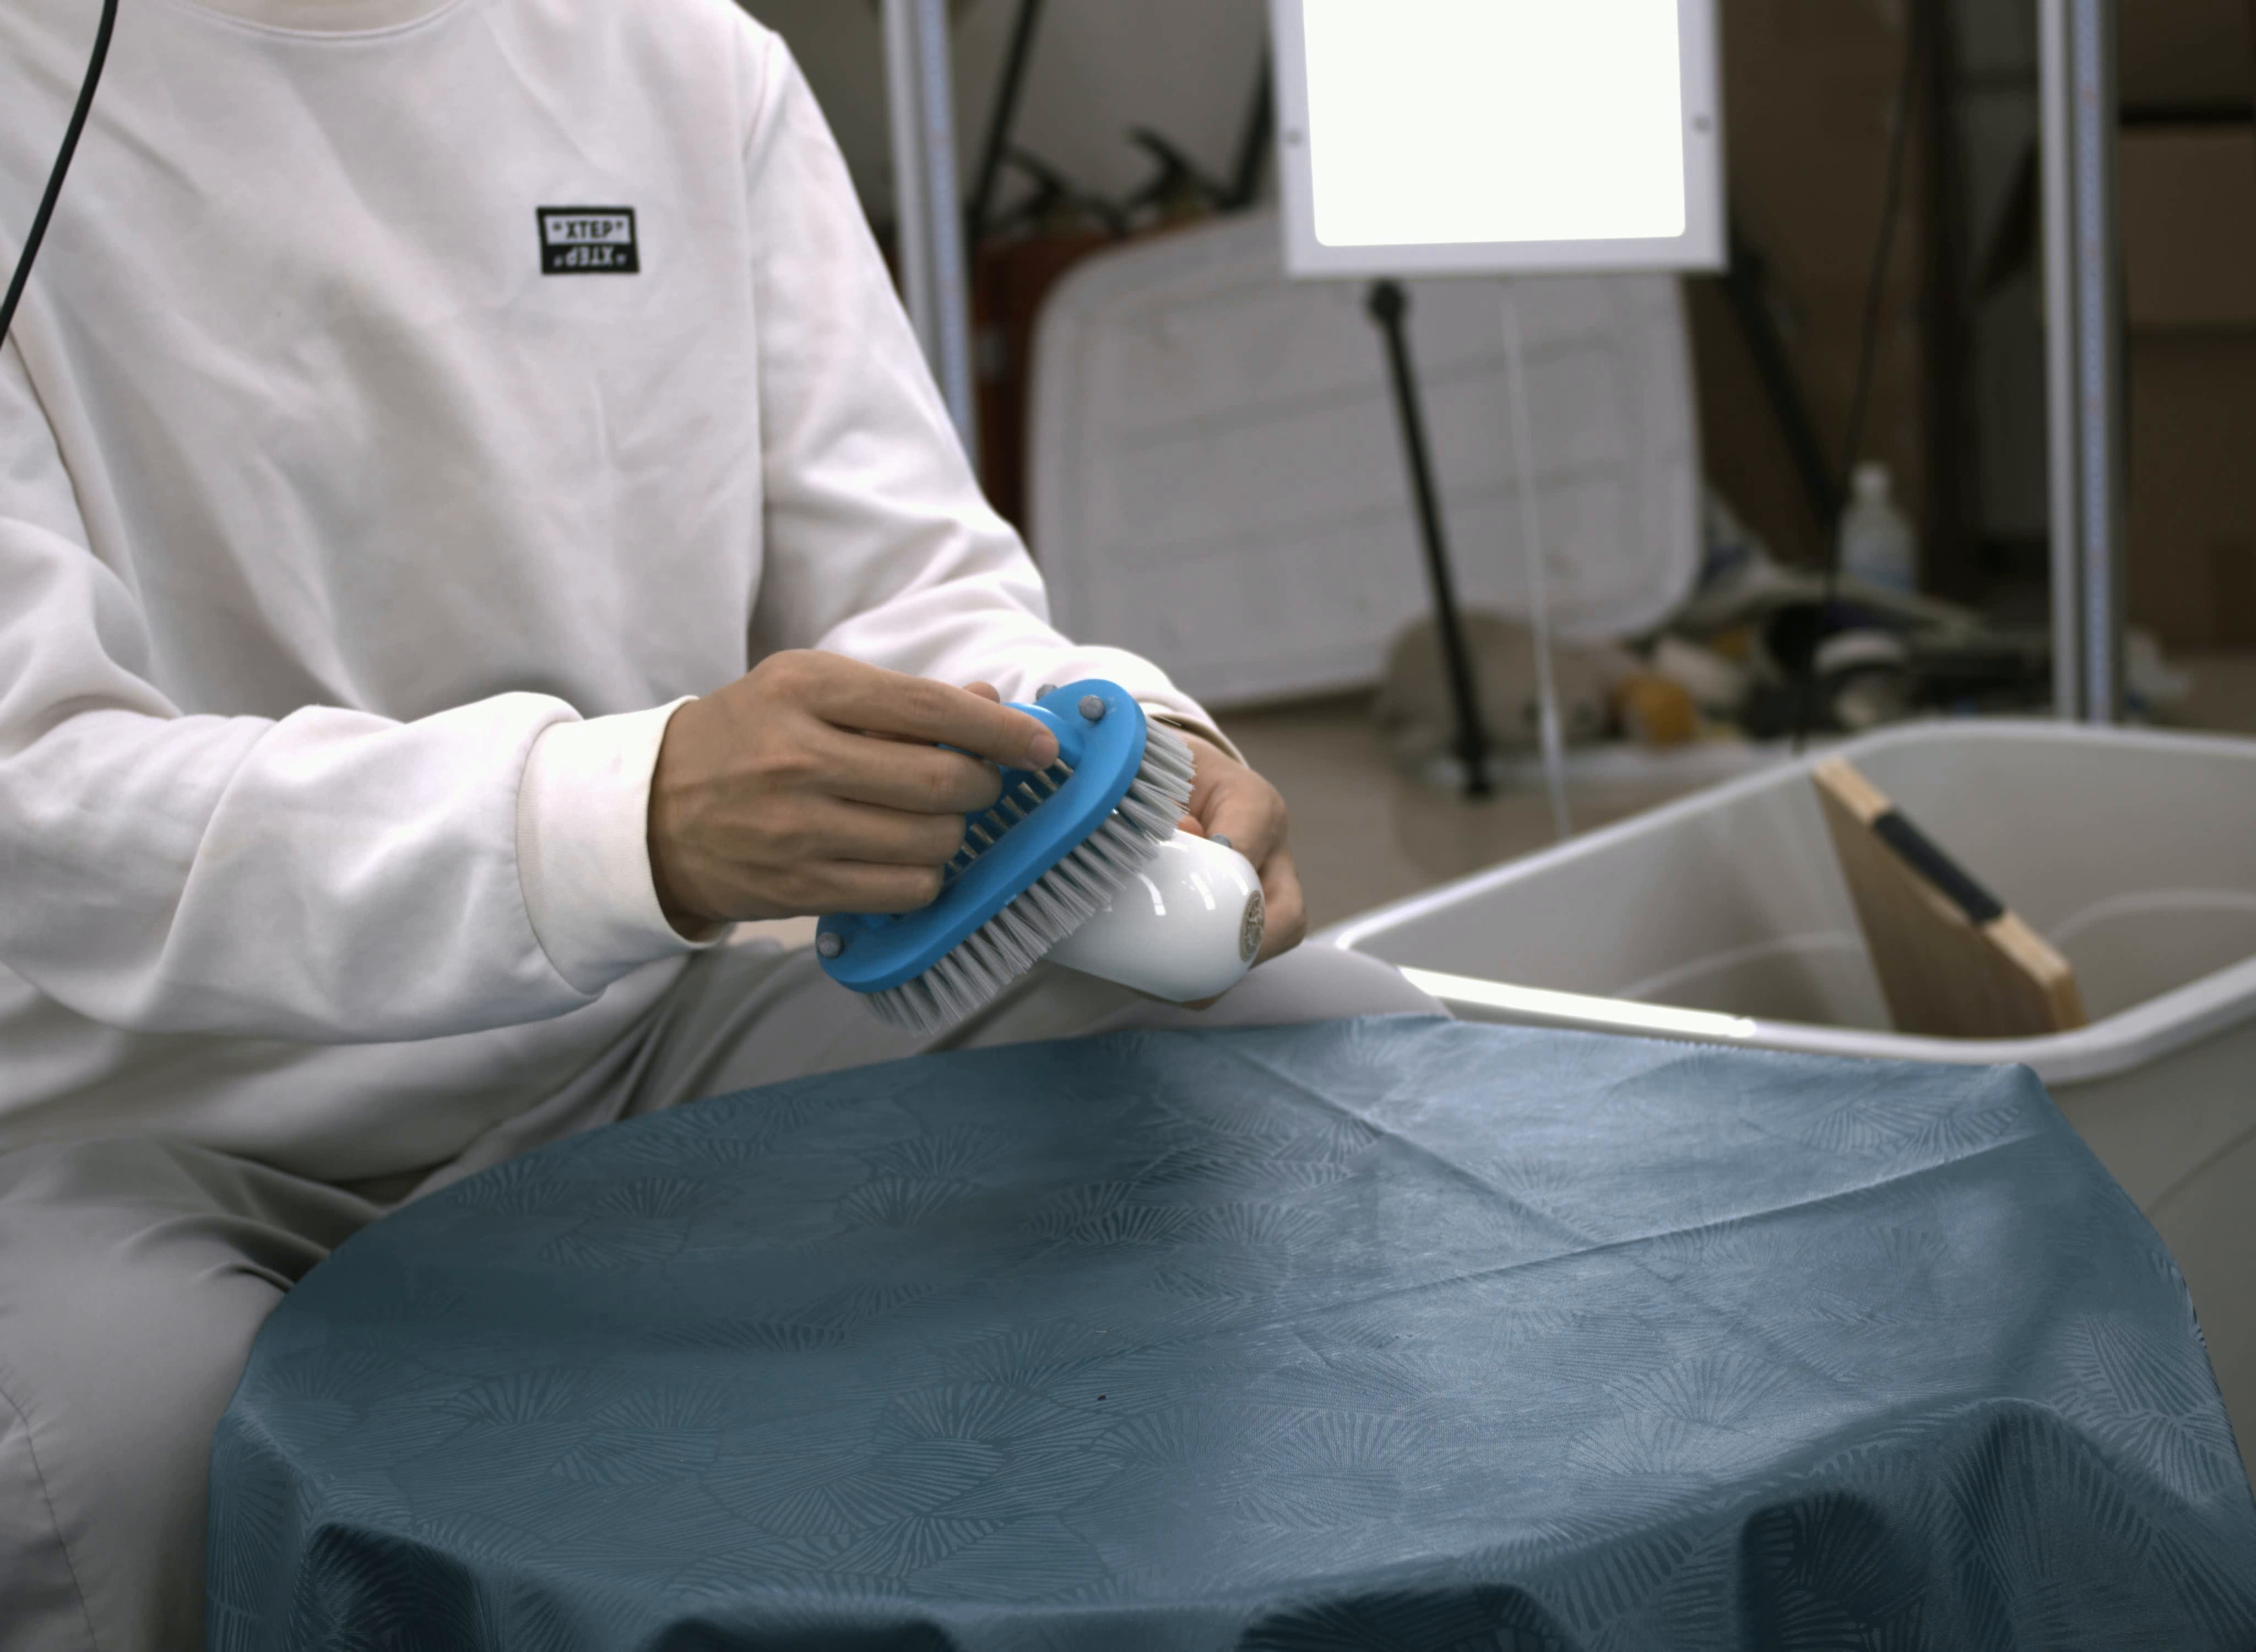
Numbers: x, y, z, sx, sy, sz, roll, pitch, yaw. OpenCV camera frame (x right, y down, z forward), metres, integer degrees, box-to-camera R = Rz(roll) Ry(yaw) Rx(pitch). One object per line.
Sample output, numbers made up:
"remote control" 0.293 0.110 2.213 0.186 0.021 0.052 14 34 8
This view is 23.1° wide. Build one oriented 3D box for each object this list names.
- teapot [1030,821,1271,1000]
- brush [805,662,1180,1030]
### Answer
"teapot" 0.004 0.026 1.871 0.094 0.057 0.126 14 -3 9
"brush" -0.053 0.001 1.805 0.143 0.063 0.085 -40 37 13
